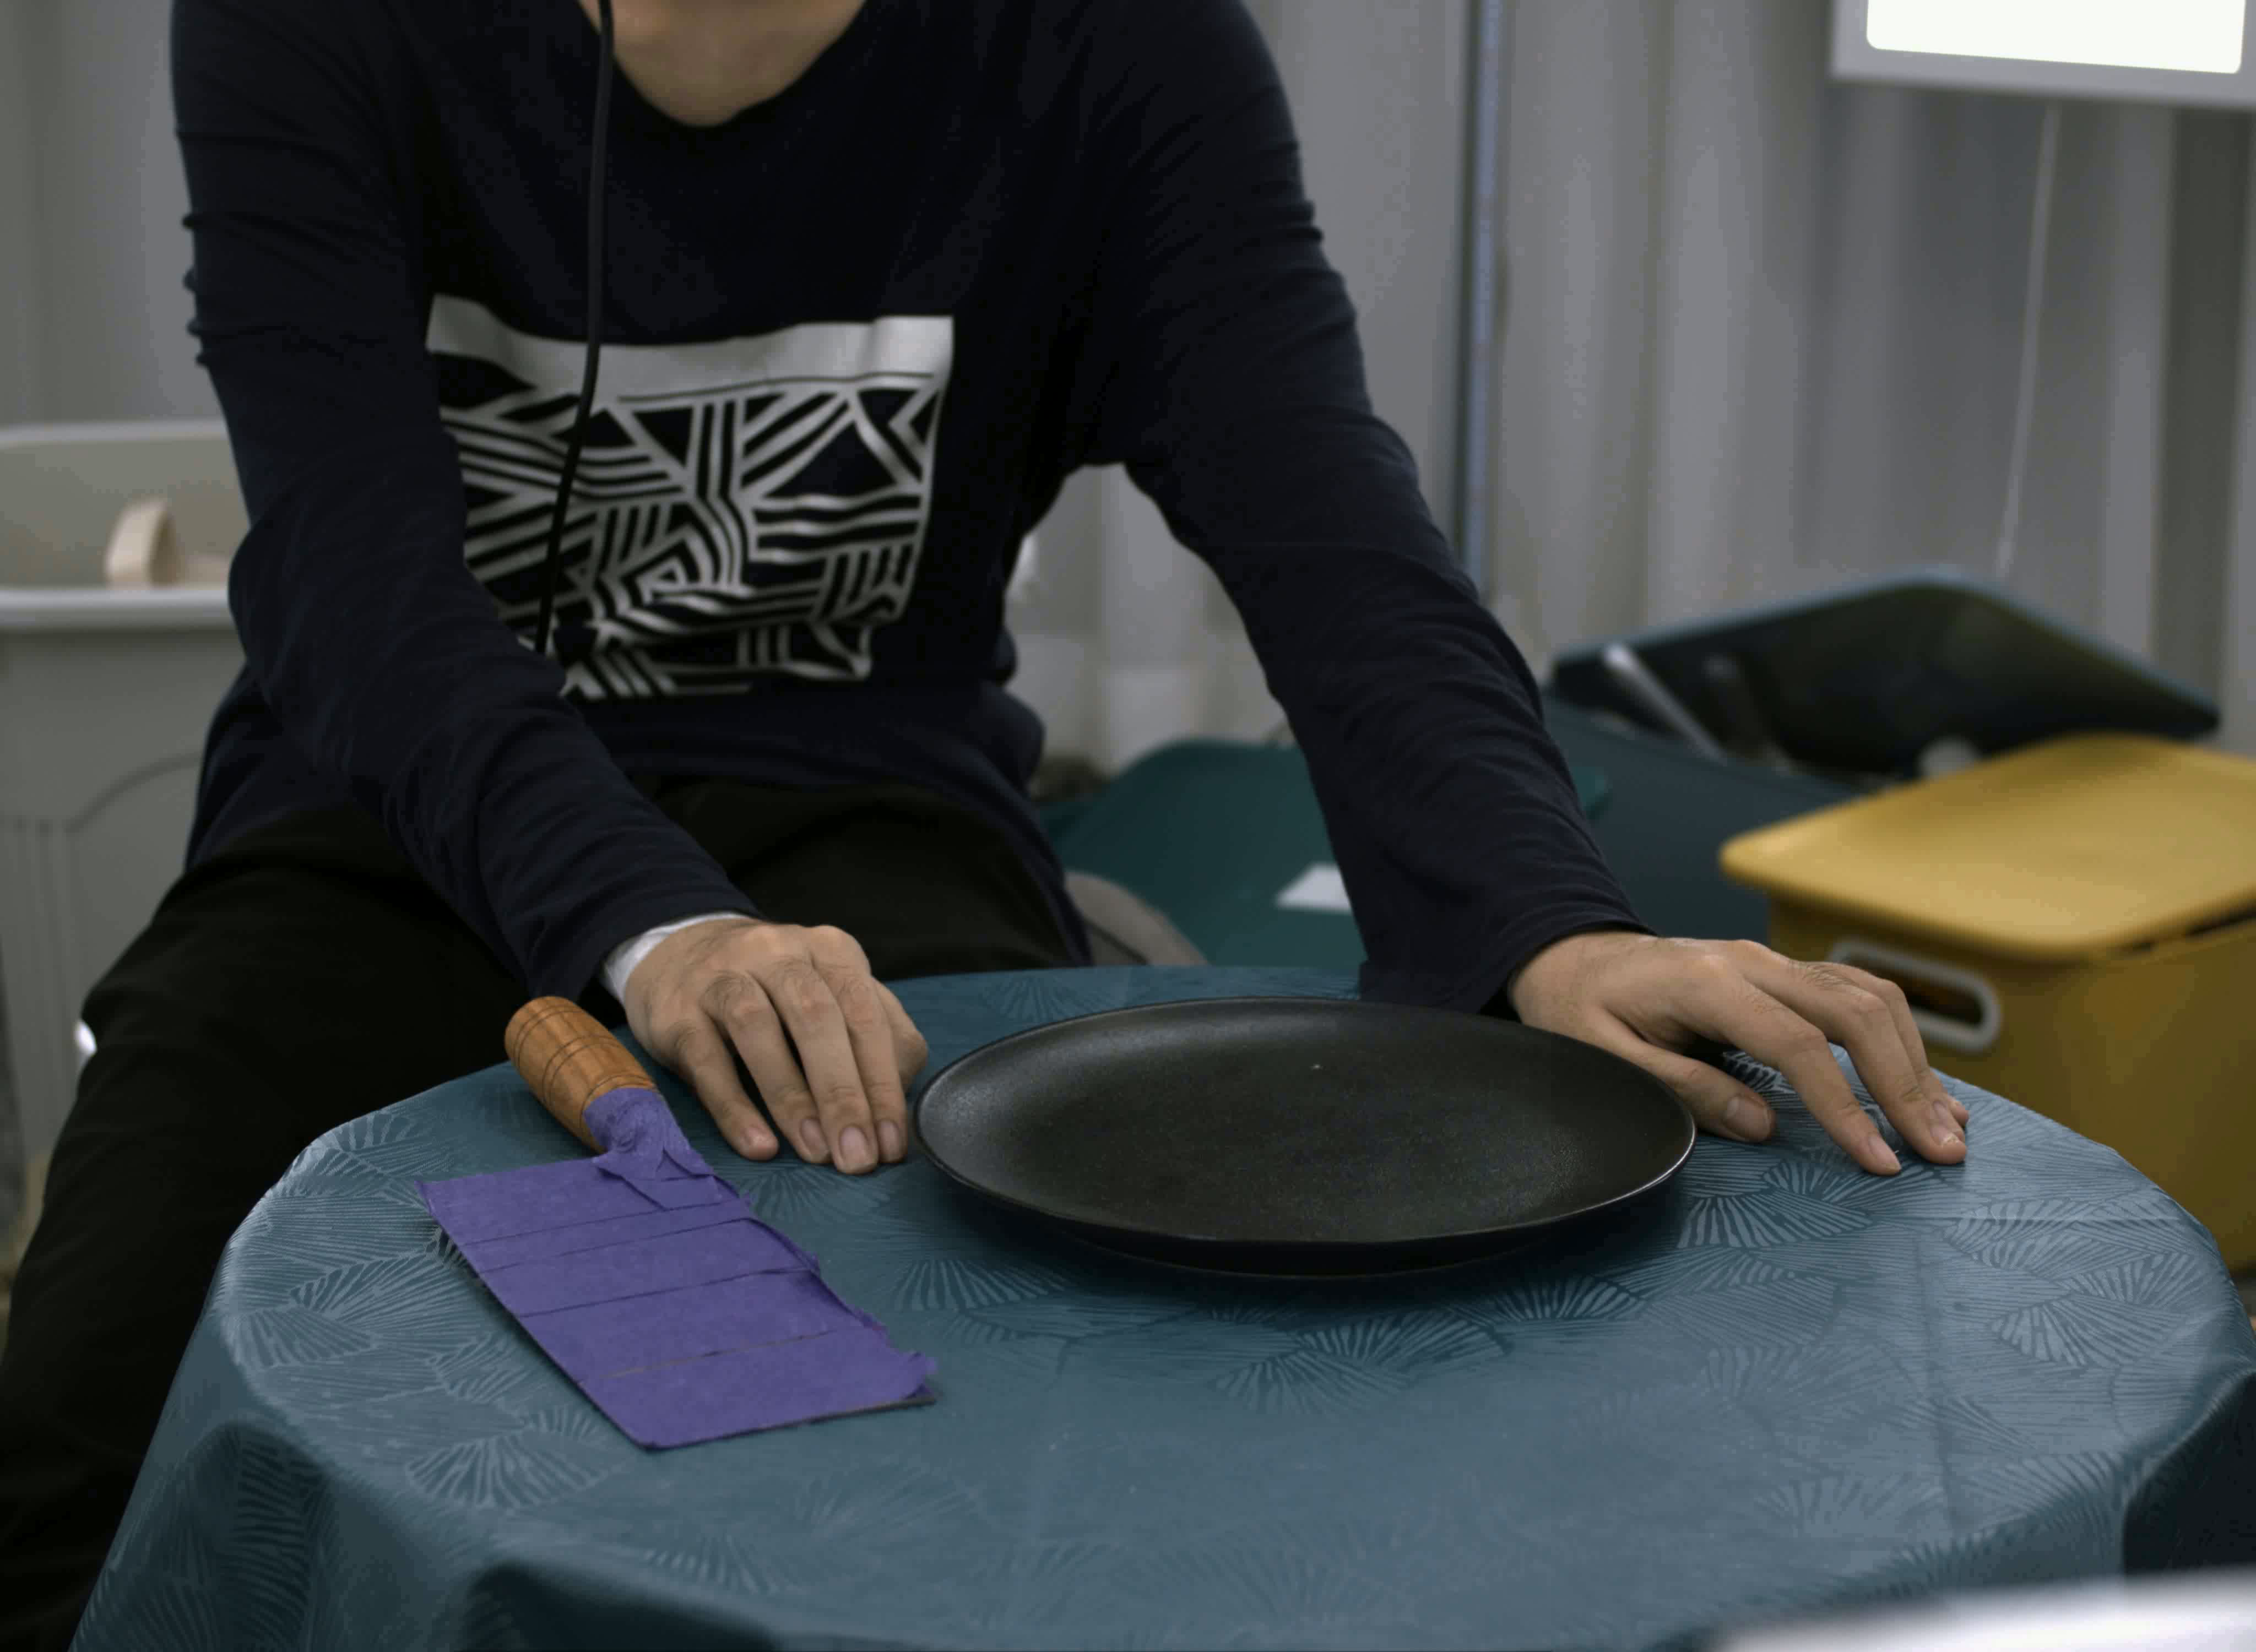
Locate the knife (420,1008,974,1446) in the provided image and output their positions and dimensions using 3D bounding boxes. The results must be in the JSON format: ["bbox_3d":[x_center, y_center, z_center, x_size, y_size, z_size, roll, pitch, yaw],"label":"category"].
[{"bbox_3d":[-0.154,0.114,1.562,0.104,0.032,0.311,-7,17,-25],"label":"knife"}]

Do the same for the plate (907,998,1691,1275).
[{"bbox_3d":[0.053,0.098,1.635,0.243,0.023,0.243,1,15,0],"label":"plate"}]
